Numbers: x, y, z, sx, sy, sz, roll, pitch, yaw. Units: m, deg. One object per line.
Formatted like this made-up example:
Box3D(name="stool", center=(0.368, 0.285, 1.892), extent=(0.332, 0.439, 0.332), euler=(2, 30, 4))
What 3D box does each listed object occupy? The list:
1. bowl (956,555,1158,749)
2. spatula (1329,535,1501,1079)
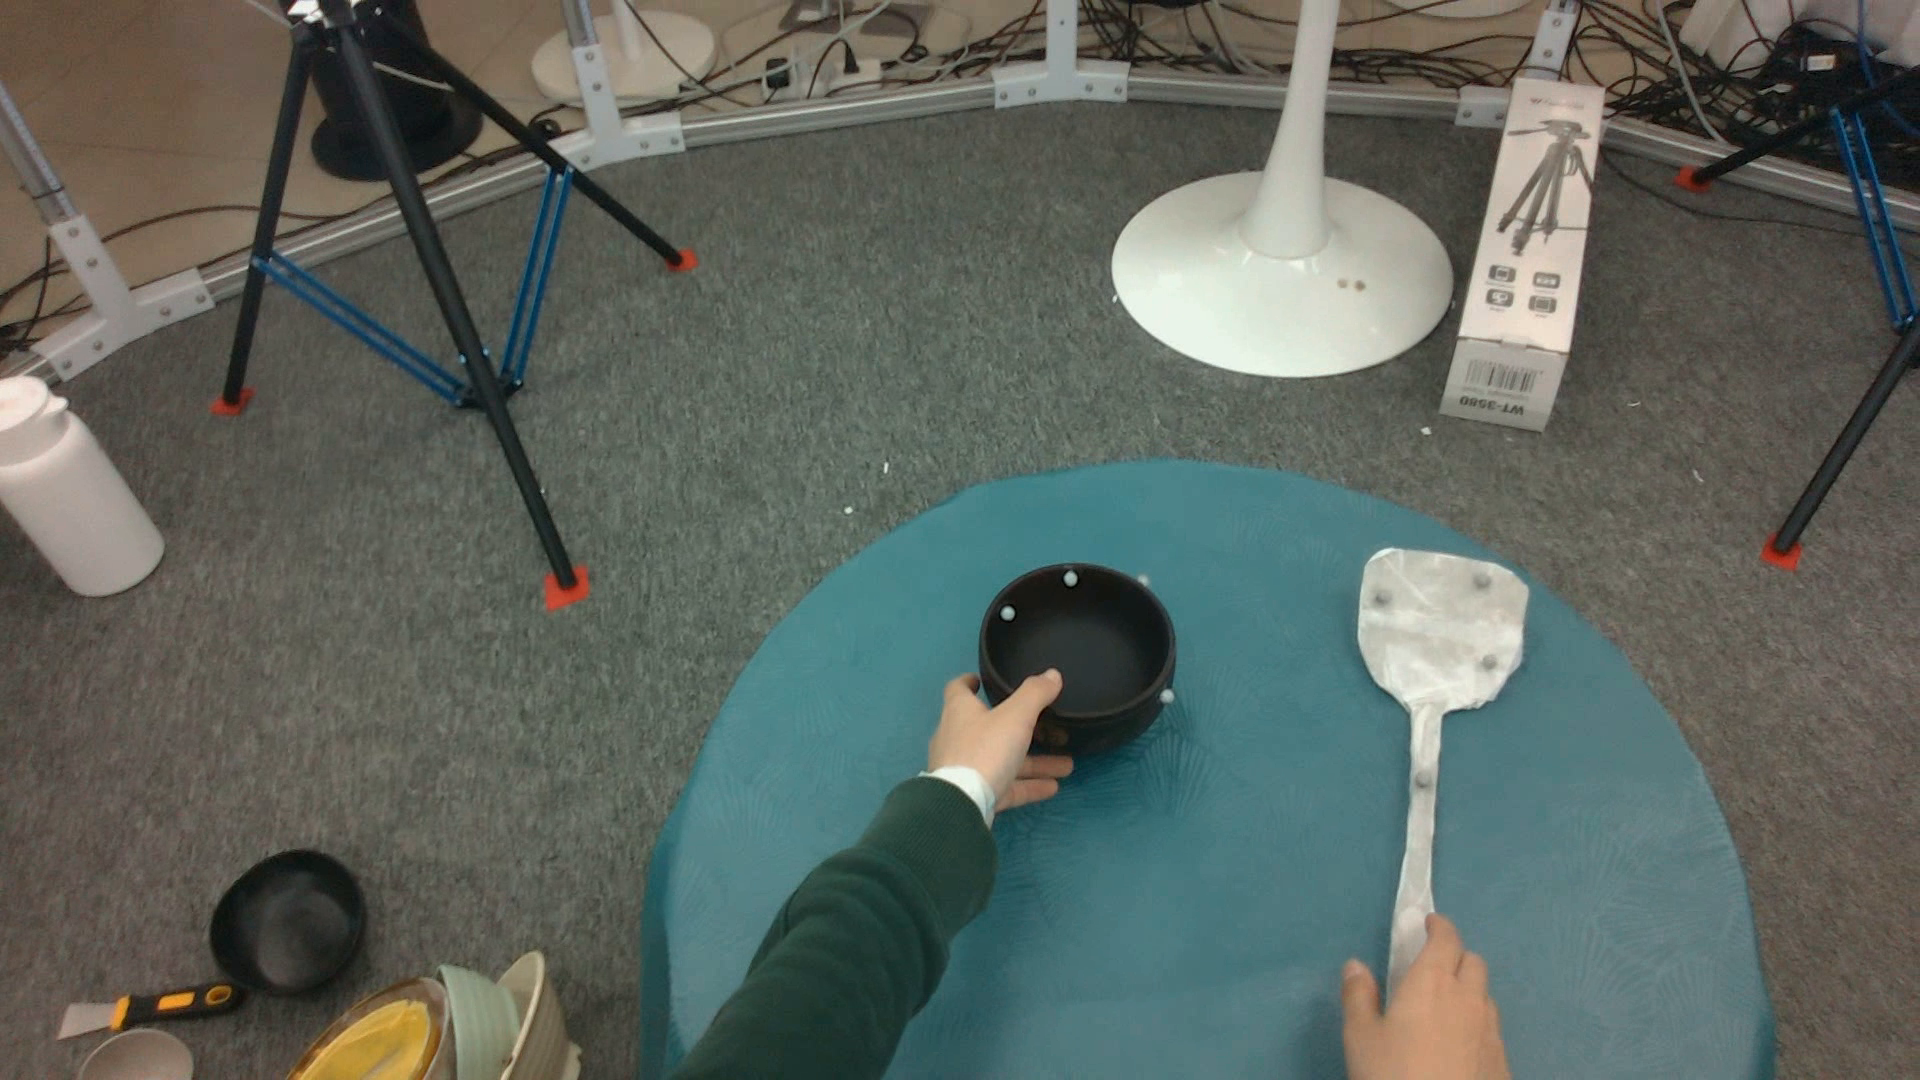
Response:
Box3D(name="bowl", center=(0.057, 0.074, 0.820), extent=(0.118, 0.069, 0.118), euler=(-2, 48, 3))
Box3D(name="spatula", center=(0.243, 0.145, 0.771), extent=(0.098, 0.044, 0.367), euler=(13, 49, 11))
